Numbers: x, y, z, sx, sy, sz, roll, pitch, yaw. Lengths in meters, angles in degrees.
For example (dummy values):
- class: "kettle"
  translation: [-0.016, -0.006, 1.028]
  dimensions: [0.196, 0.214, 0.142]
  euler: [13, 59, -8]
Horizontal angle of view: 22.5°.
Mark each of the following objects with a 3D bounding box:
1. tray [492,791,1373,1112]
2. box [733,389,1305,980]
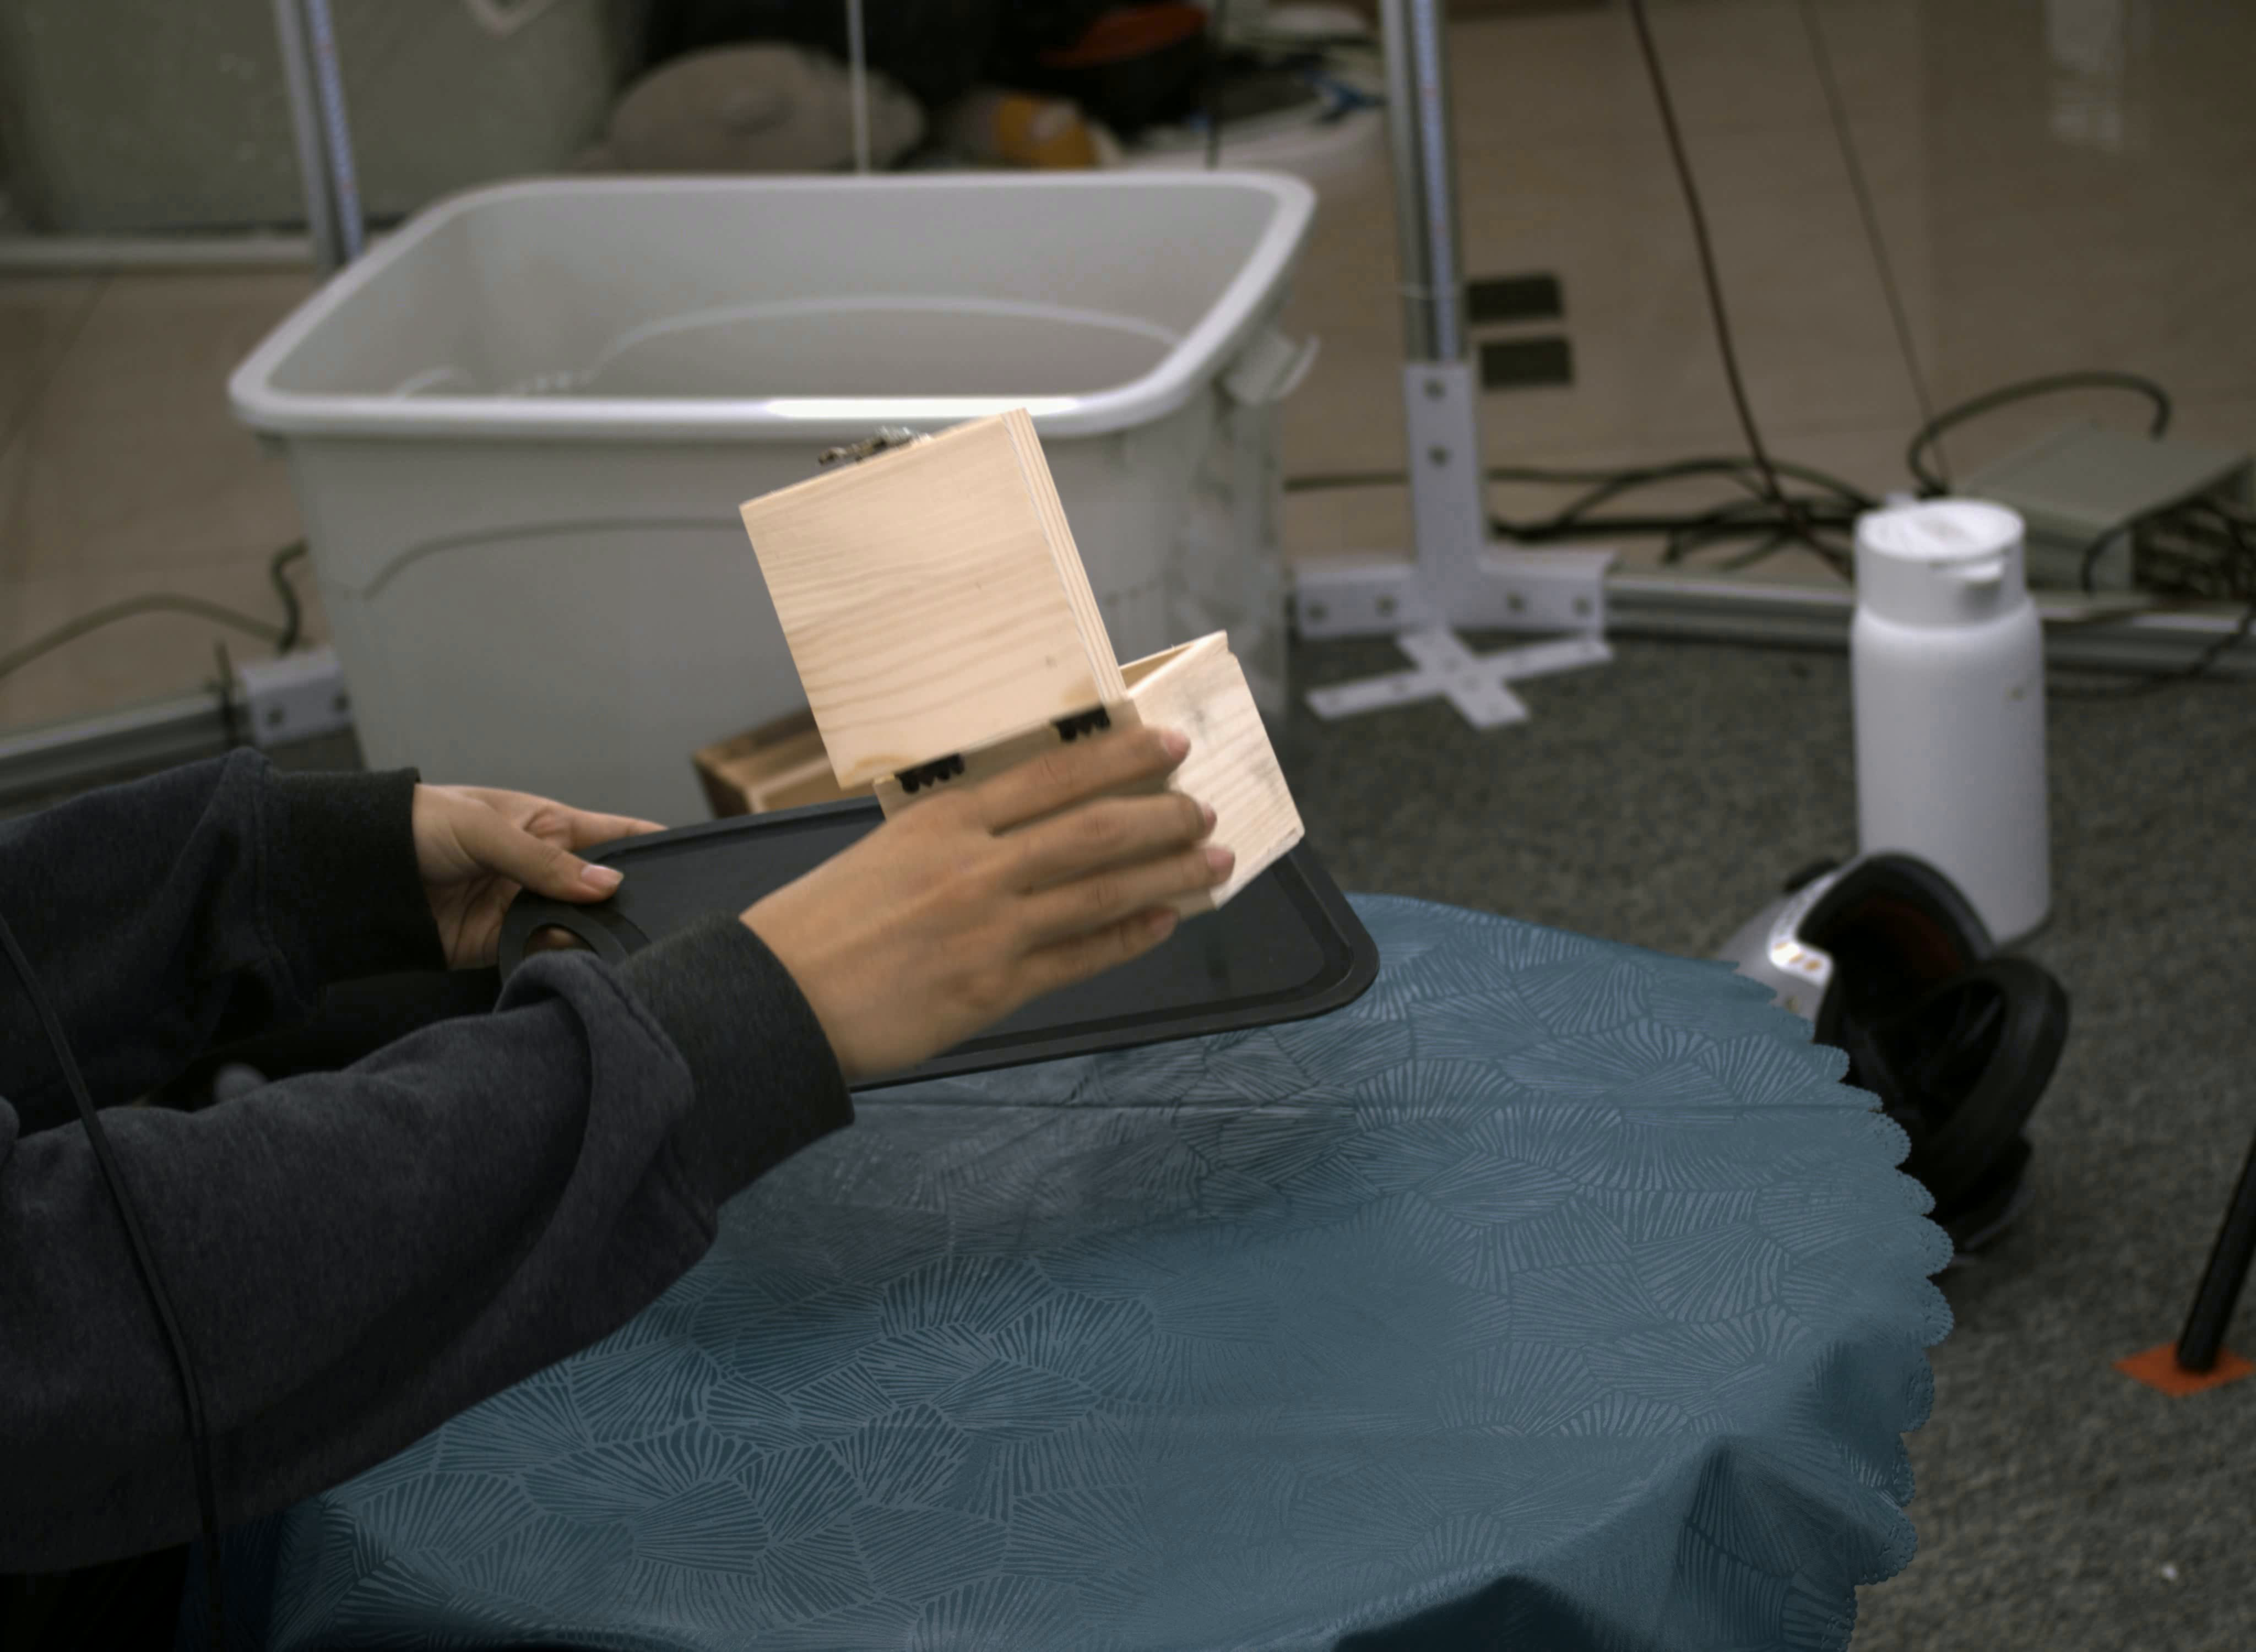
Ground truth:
- class: "tray"
  translation: [-0.080, 0.037, 2.163]
  dimensions: [0.324, 0.010, 0.208]
  euler: [-8, 31, -13]
- class: "box"
  translation: [-0.035, -0.057, 1.917]
  dimensions: [0.103, 0.185, 0.133]
  euler: [-18, 8, 23]
